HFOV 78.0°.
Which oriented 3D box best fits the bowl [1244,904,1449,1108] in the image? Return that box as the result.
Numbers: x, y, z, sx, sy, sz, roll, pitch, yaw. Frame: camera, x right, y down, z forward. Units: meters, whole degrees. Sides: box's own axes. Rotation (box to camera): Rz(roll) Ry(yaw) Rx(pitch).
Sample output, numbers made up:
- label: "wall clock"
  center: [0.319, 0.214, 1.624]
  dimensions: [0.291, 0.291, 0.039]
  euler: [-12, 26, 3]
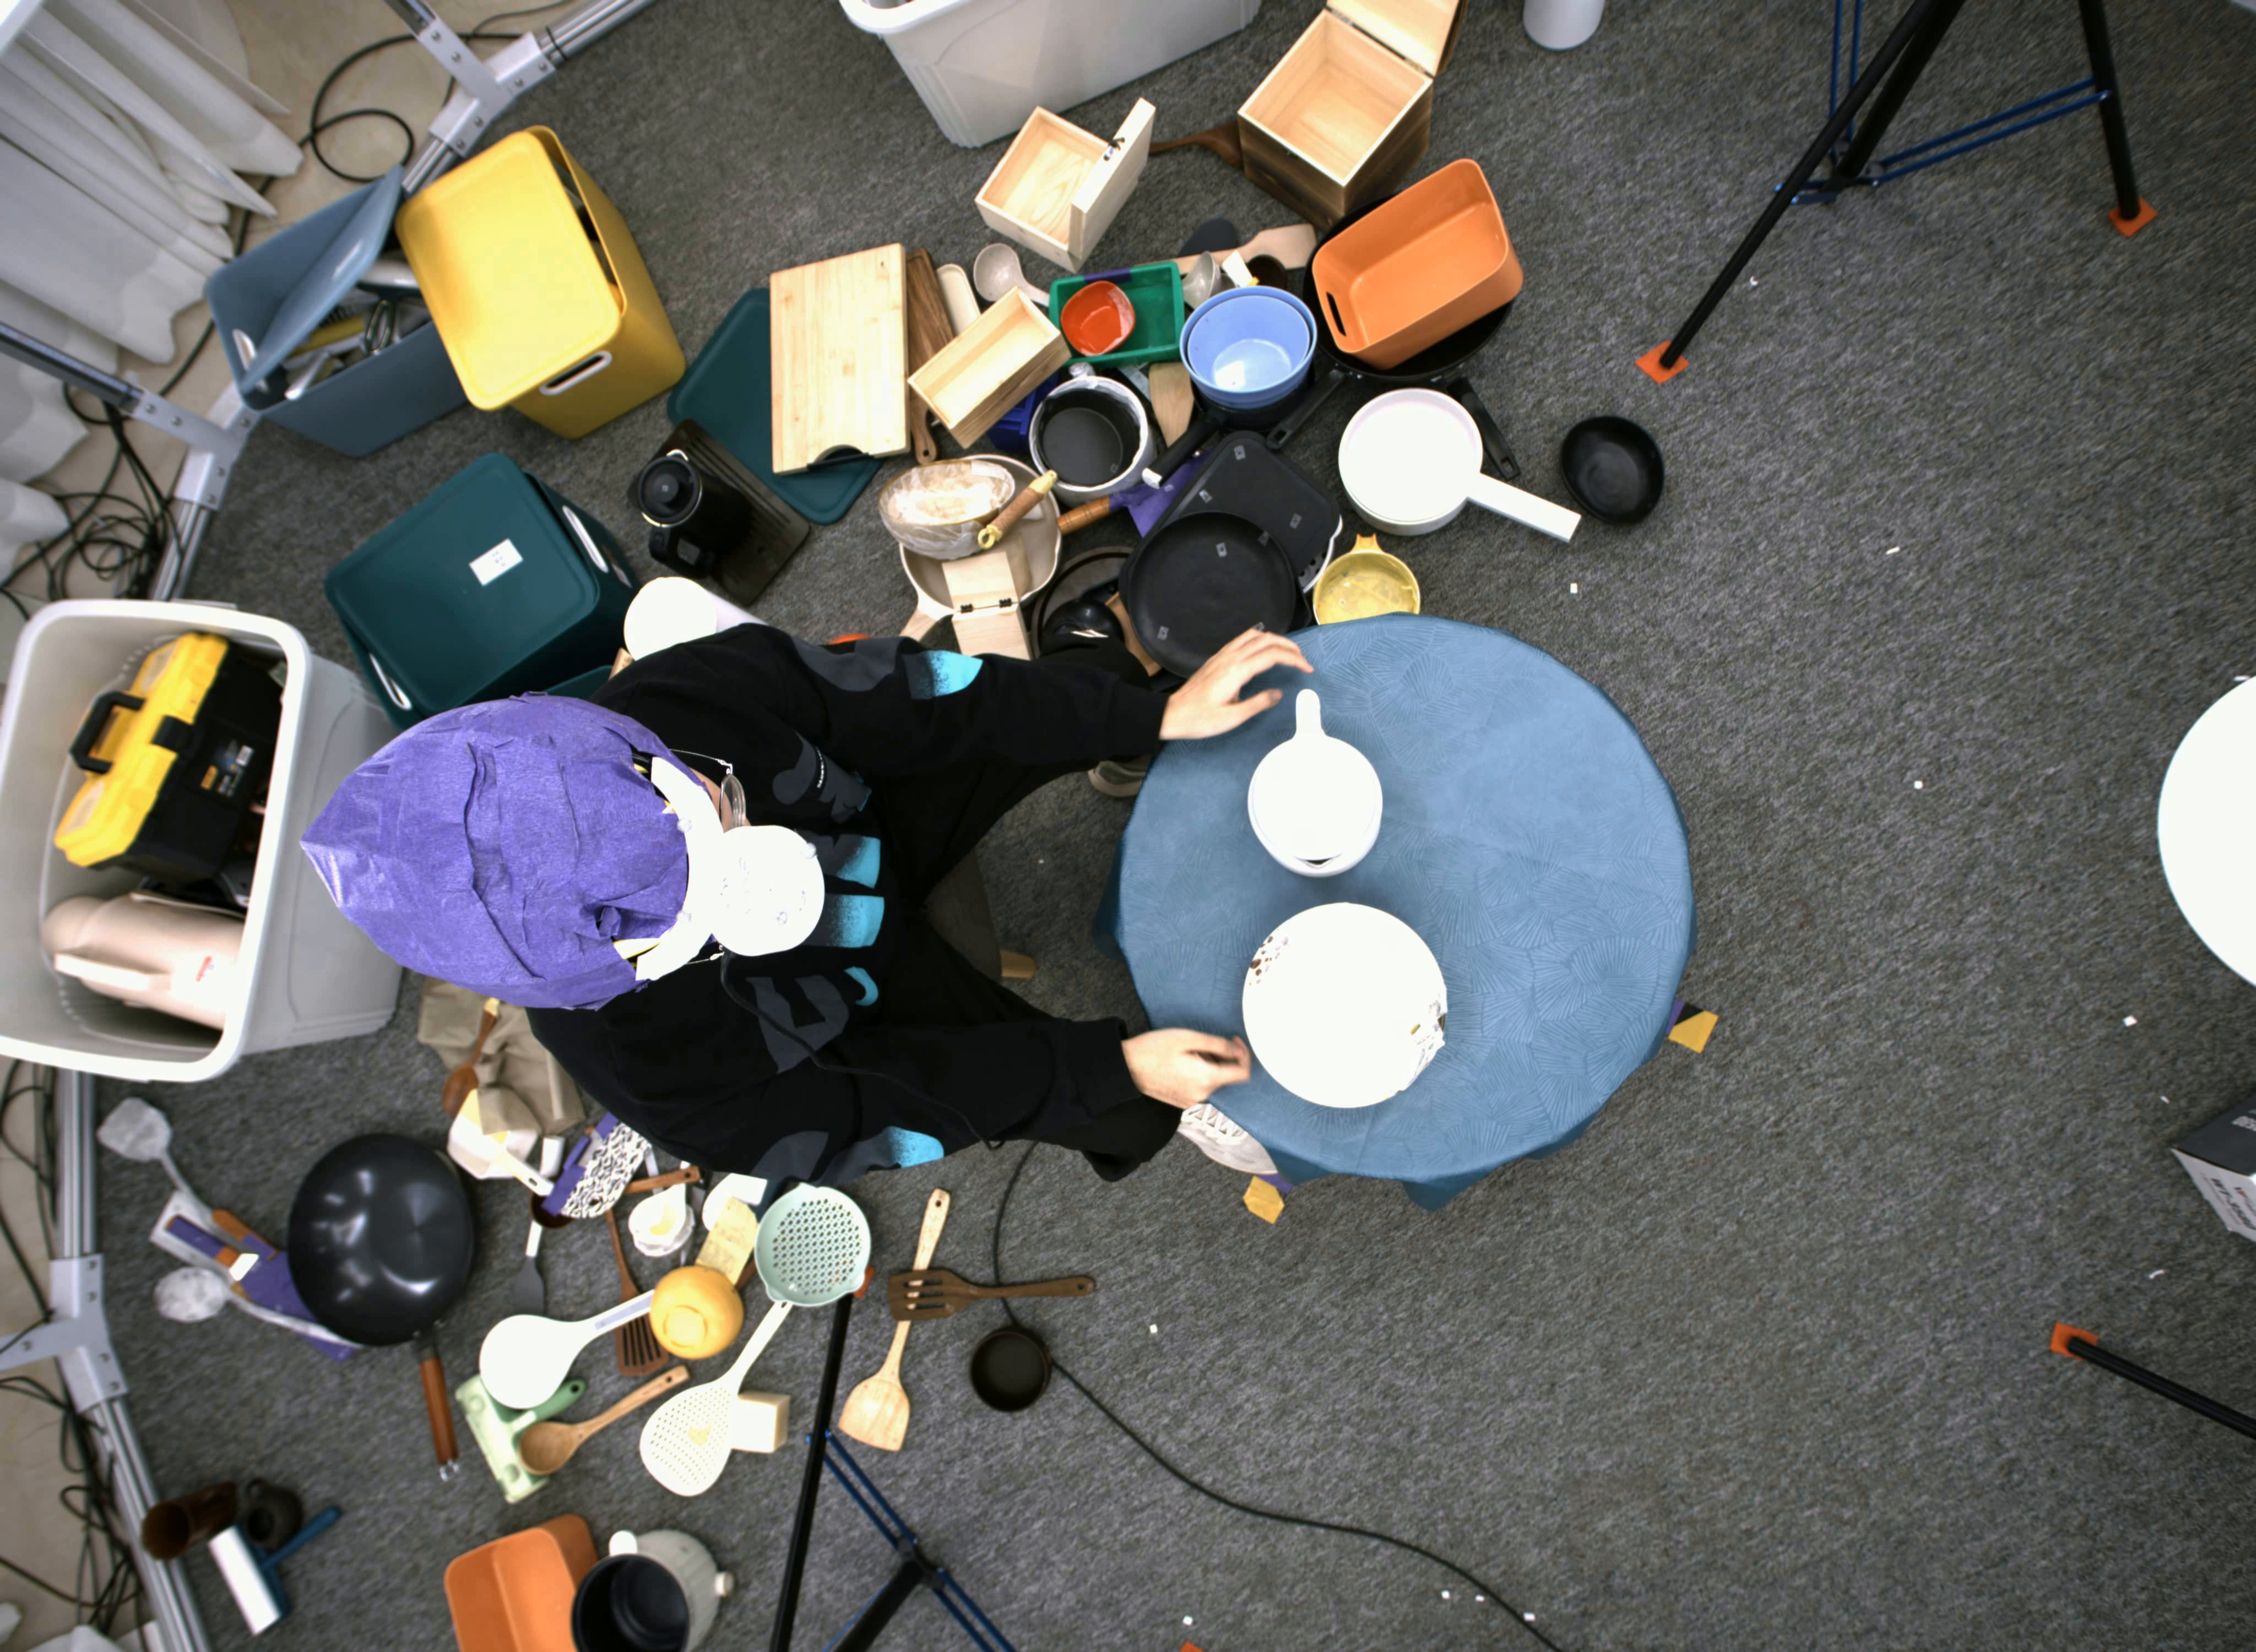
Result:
- label: "bowl"
  center: [0.225, 0.182, 1.420]
  dimensions: [0.205, 0.078, 0.203]
  euler: [-1, 86, 13]

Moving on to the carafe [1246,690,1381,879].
- label: "carafe"
  center: [0.185, -0.043, 1.391]
  dimensions: [0.133, 0.183, 0.189]
  euler: [-6, 82, 8]
